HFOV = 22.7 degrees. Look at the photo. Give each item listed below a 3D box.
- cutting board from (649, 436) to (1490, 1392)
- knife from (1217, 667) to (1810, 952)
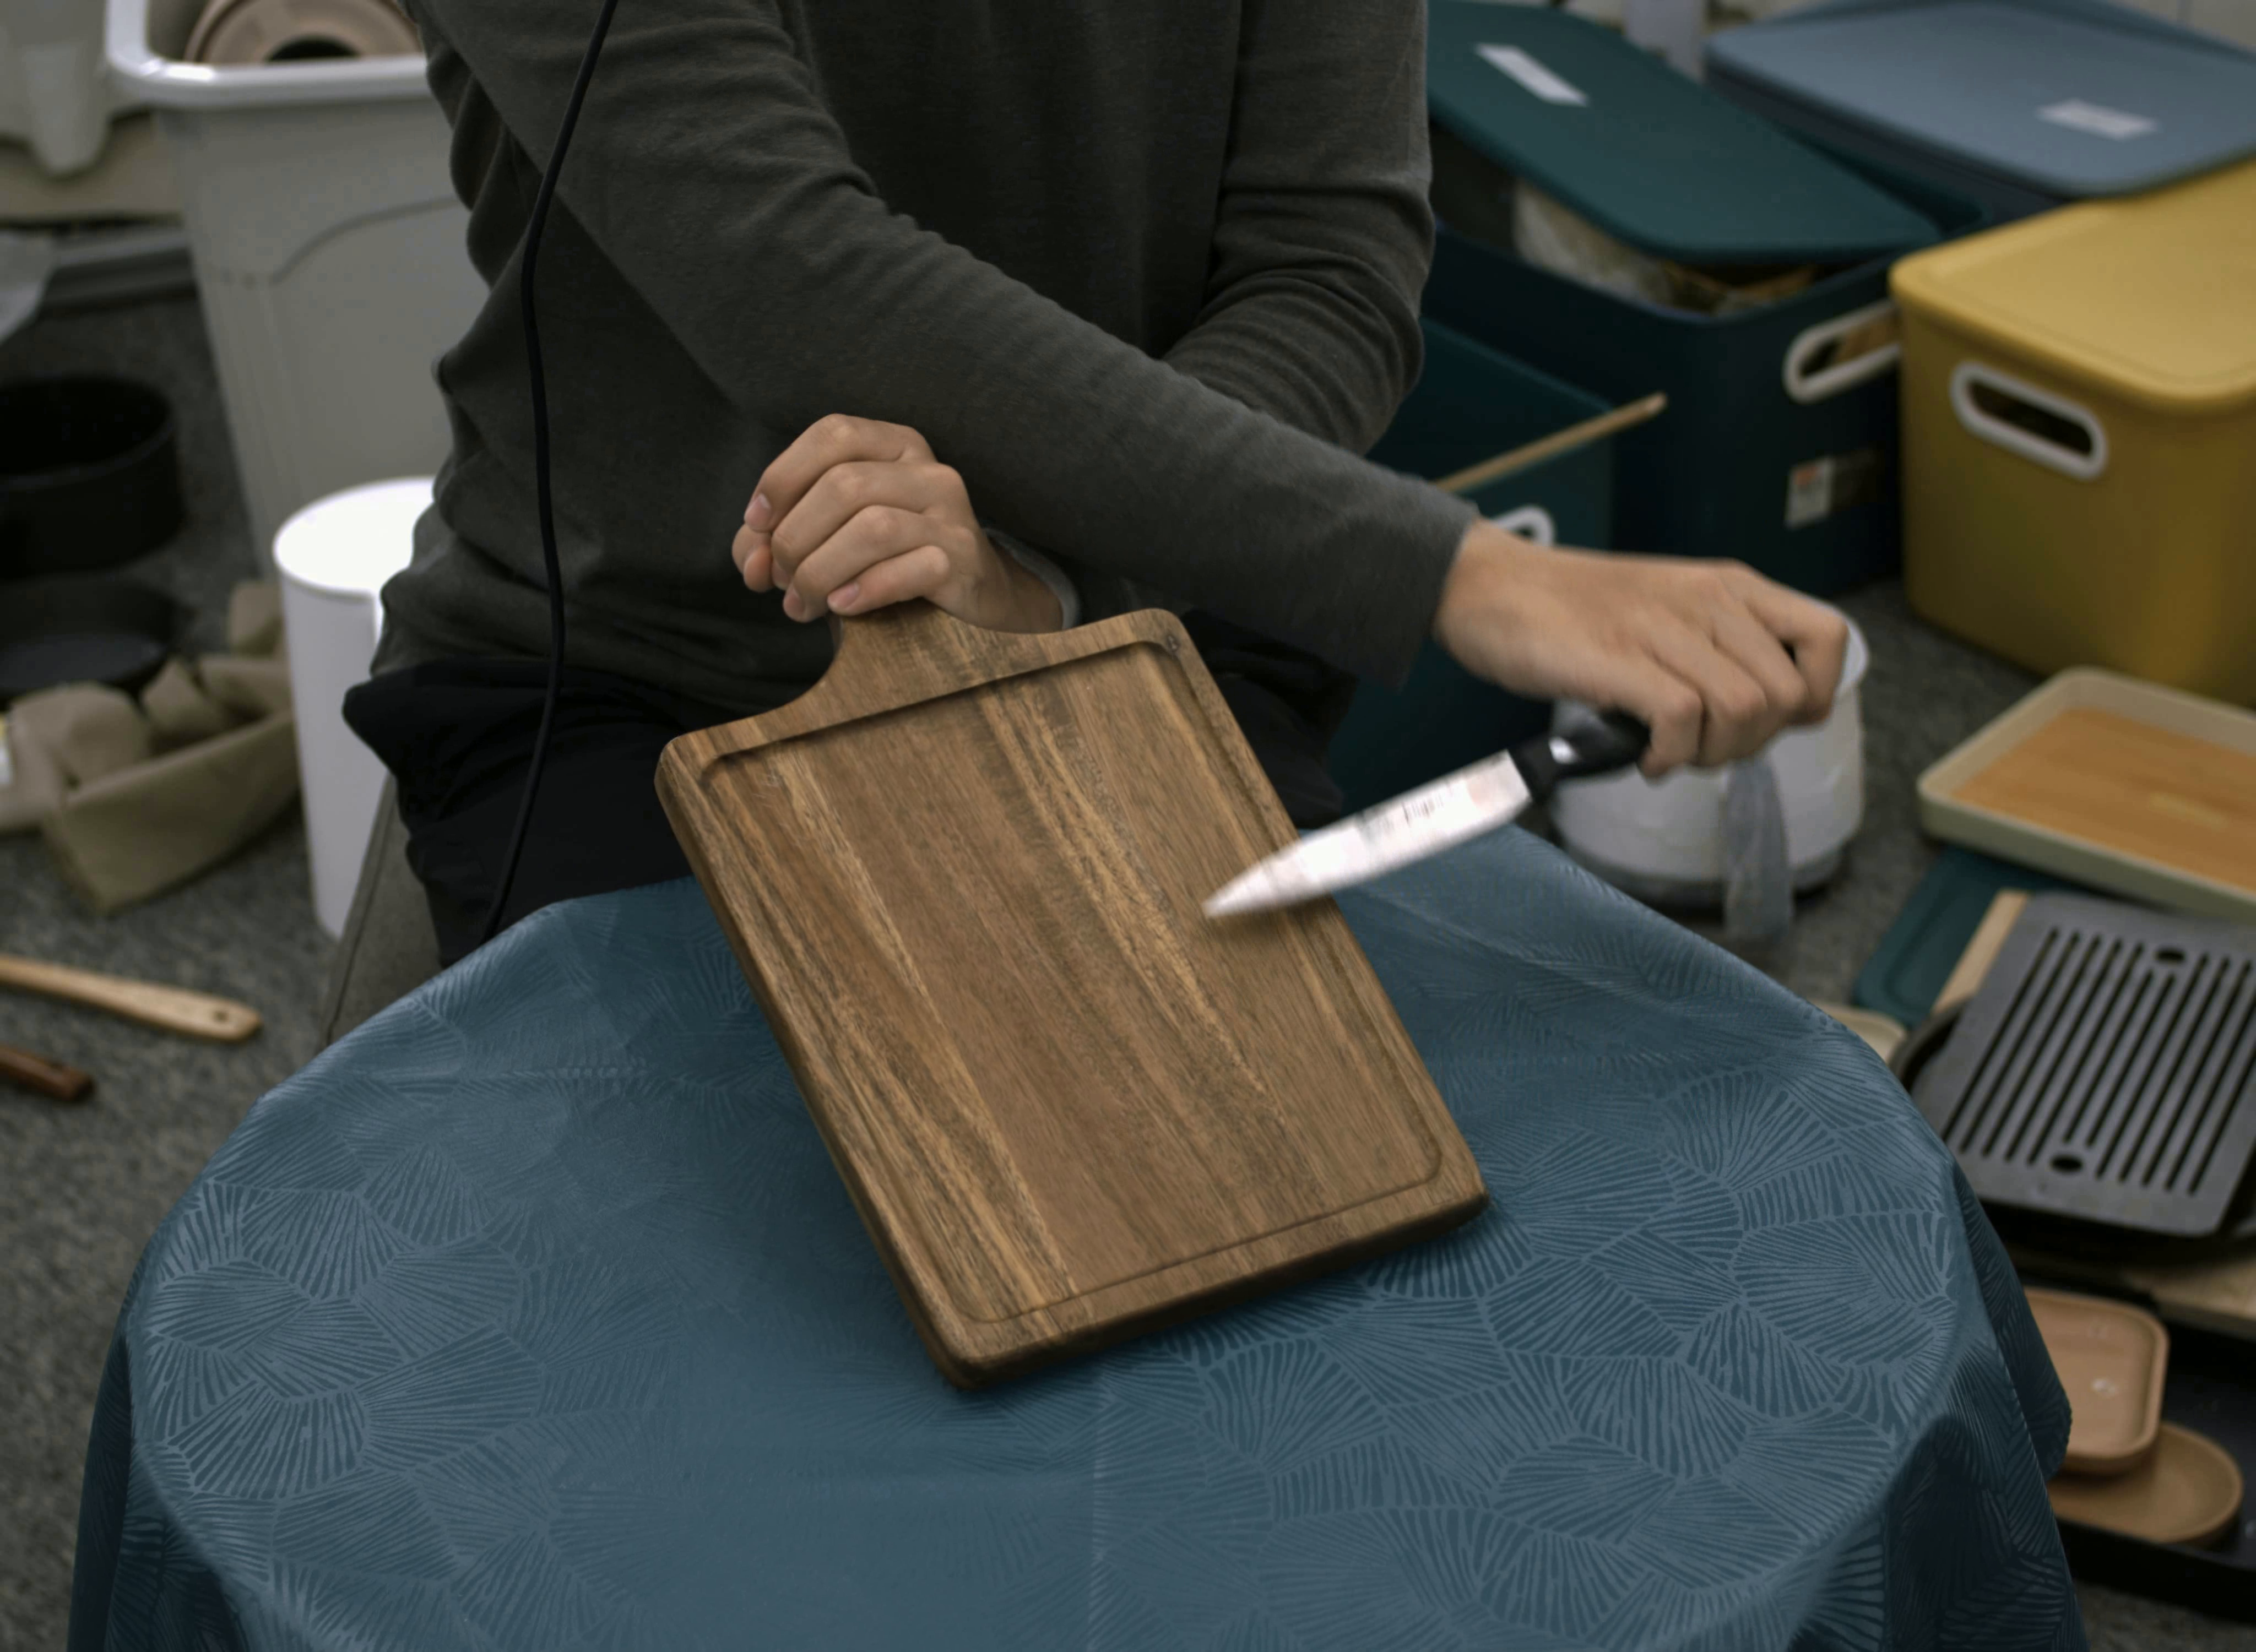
[{"bbox_3d":[-0.041,0.010,1.867,0.202,0.023,0.356,-16,60,-24],"label":"cutting board"},{"bbox_3d":[0.129,-0.006,1.891,0.240,0.016,0.025,-23,62,-23],"label":"knife"}]
